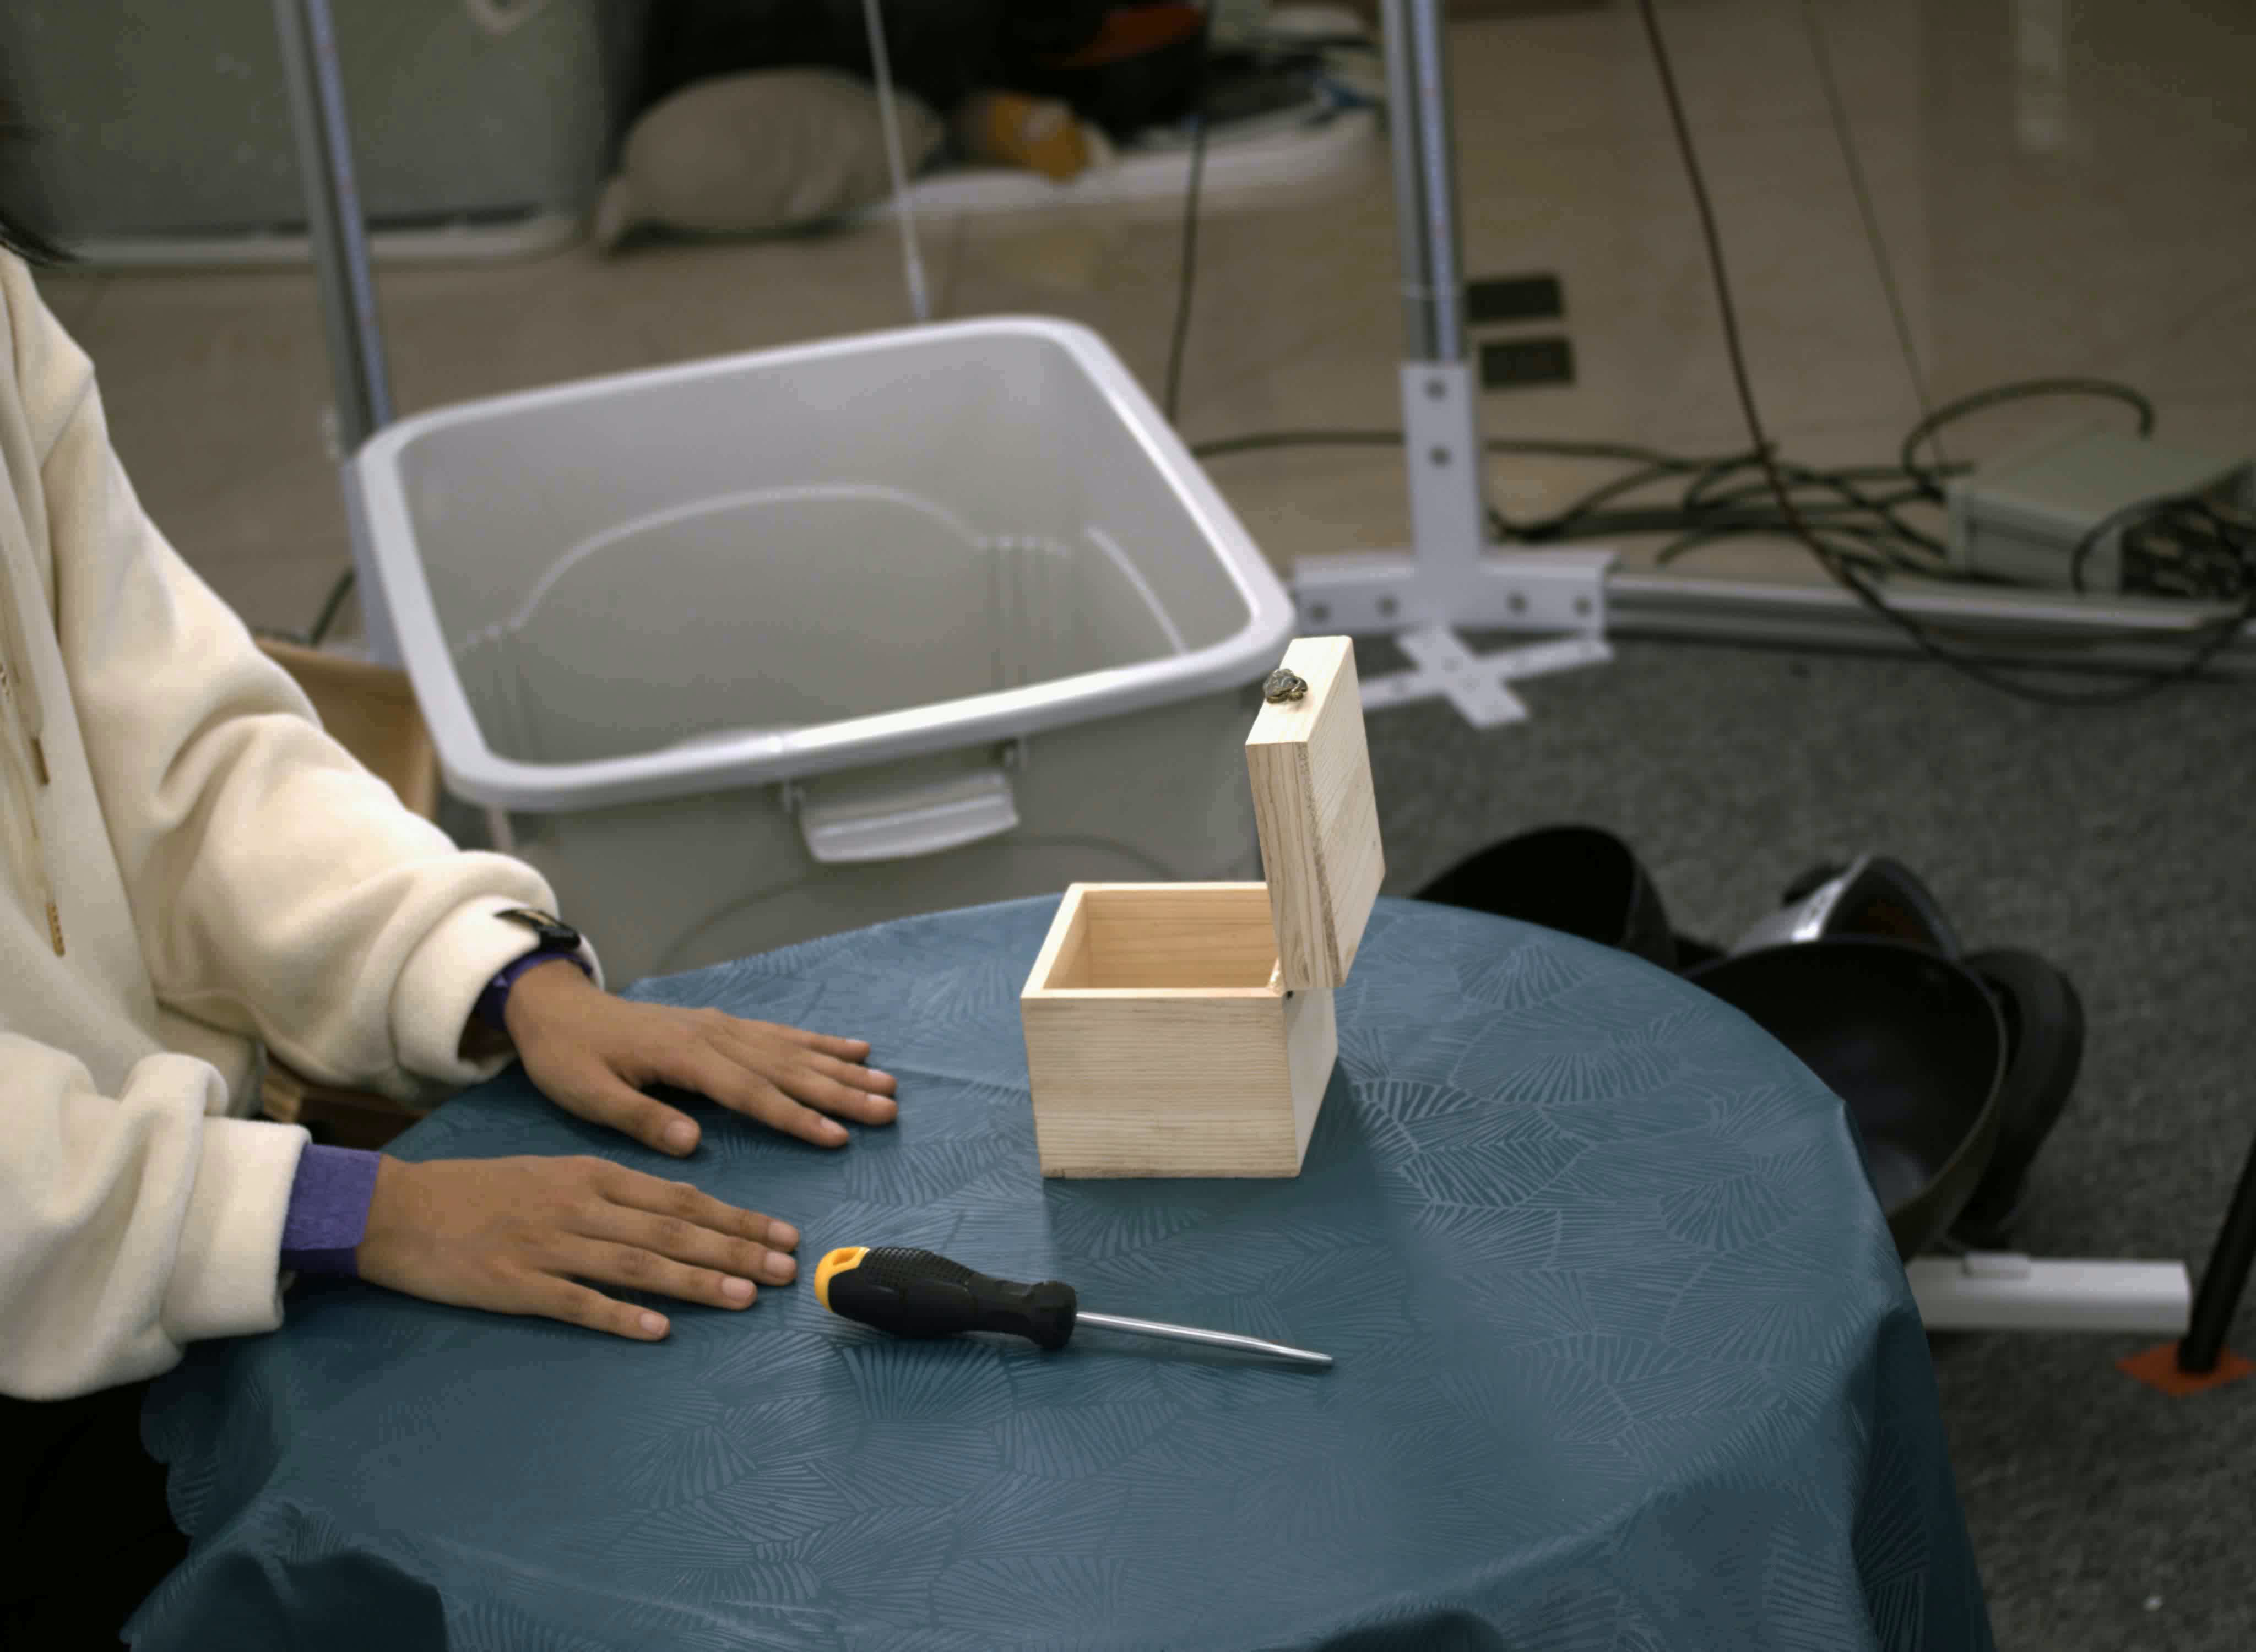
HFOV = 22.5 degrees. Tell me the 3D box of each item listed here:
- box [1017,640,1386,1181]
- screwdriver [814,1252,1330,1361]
[{"bbox_3d":[0.025,0.030,2.155,0.133,0.187,0.101,1,27,12],"label":"box"},{"bbox_3d":[-0.022,0.178,2.042,0.197,0.032,0.031,7,28,23],"label":"screwdriver"}]
